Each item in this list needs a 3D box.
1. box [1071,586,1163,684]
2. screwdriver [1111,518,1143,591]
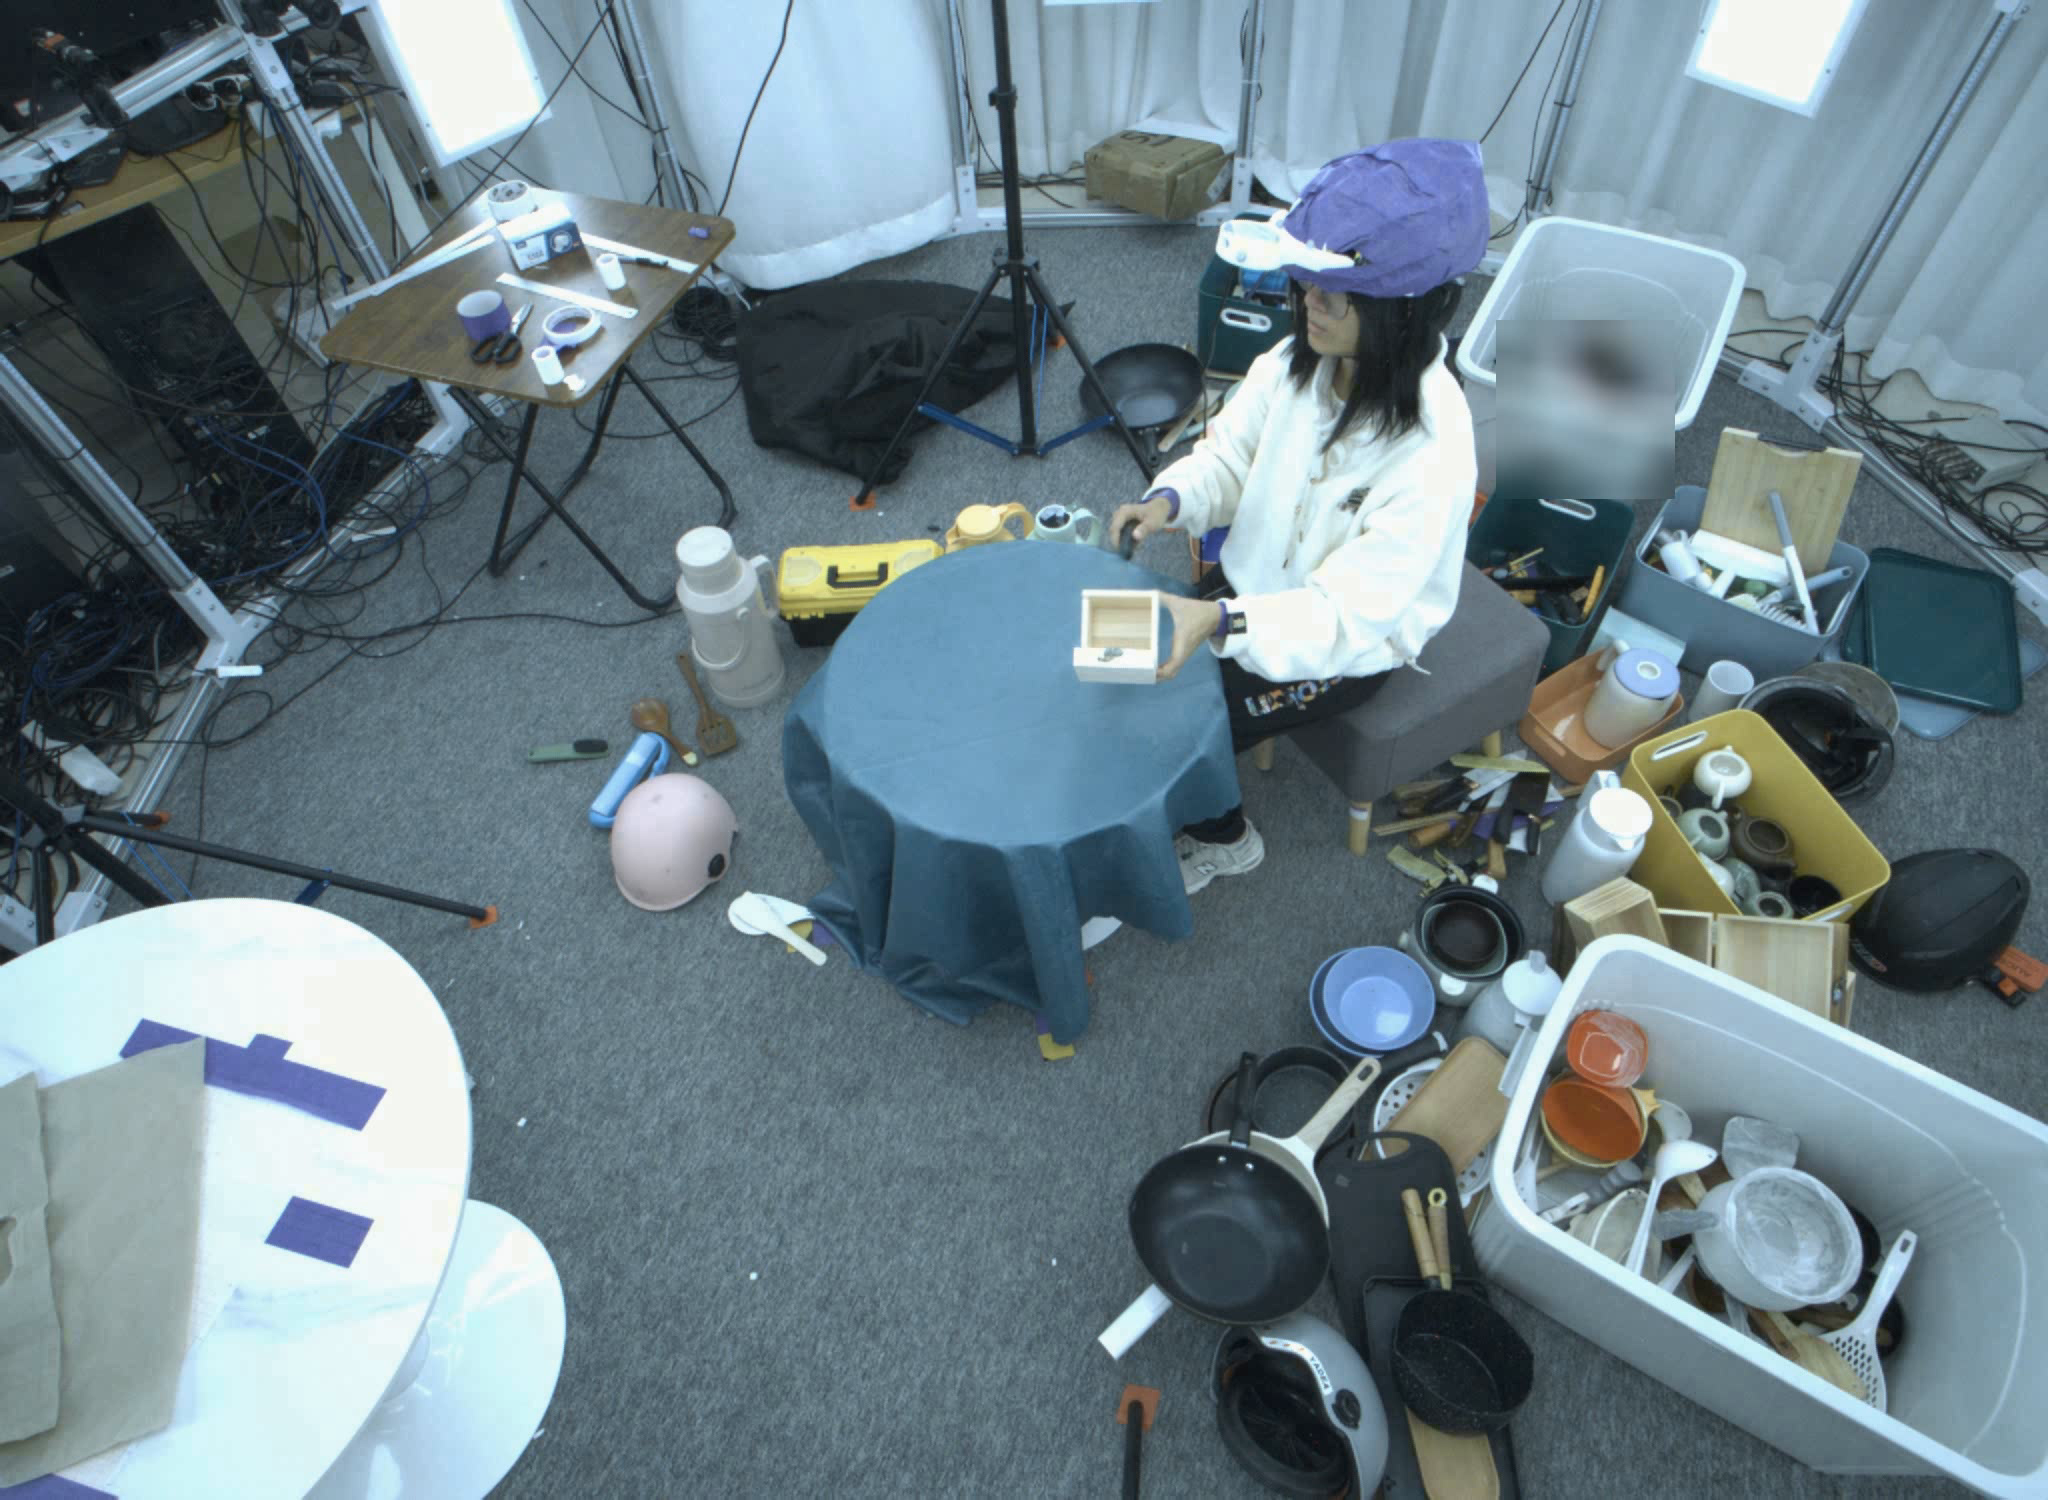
[{"bbox_3d":[0.125,-0.156,1.629,0.102,0.186,0.133,2,86,9],"label":"box"},{"bbox_3d":[0.140,-0.273,1.737,0.031,0.032,0.197,10,42,10],"label":"screwdriver"}]
